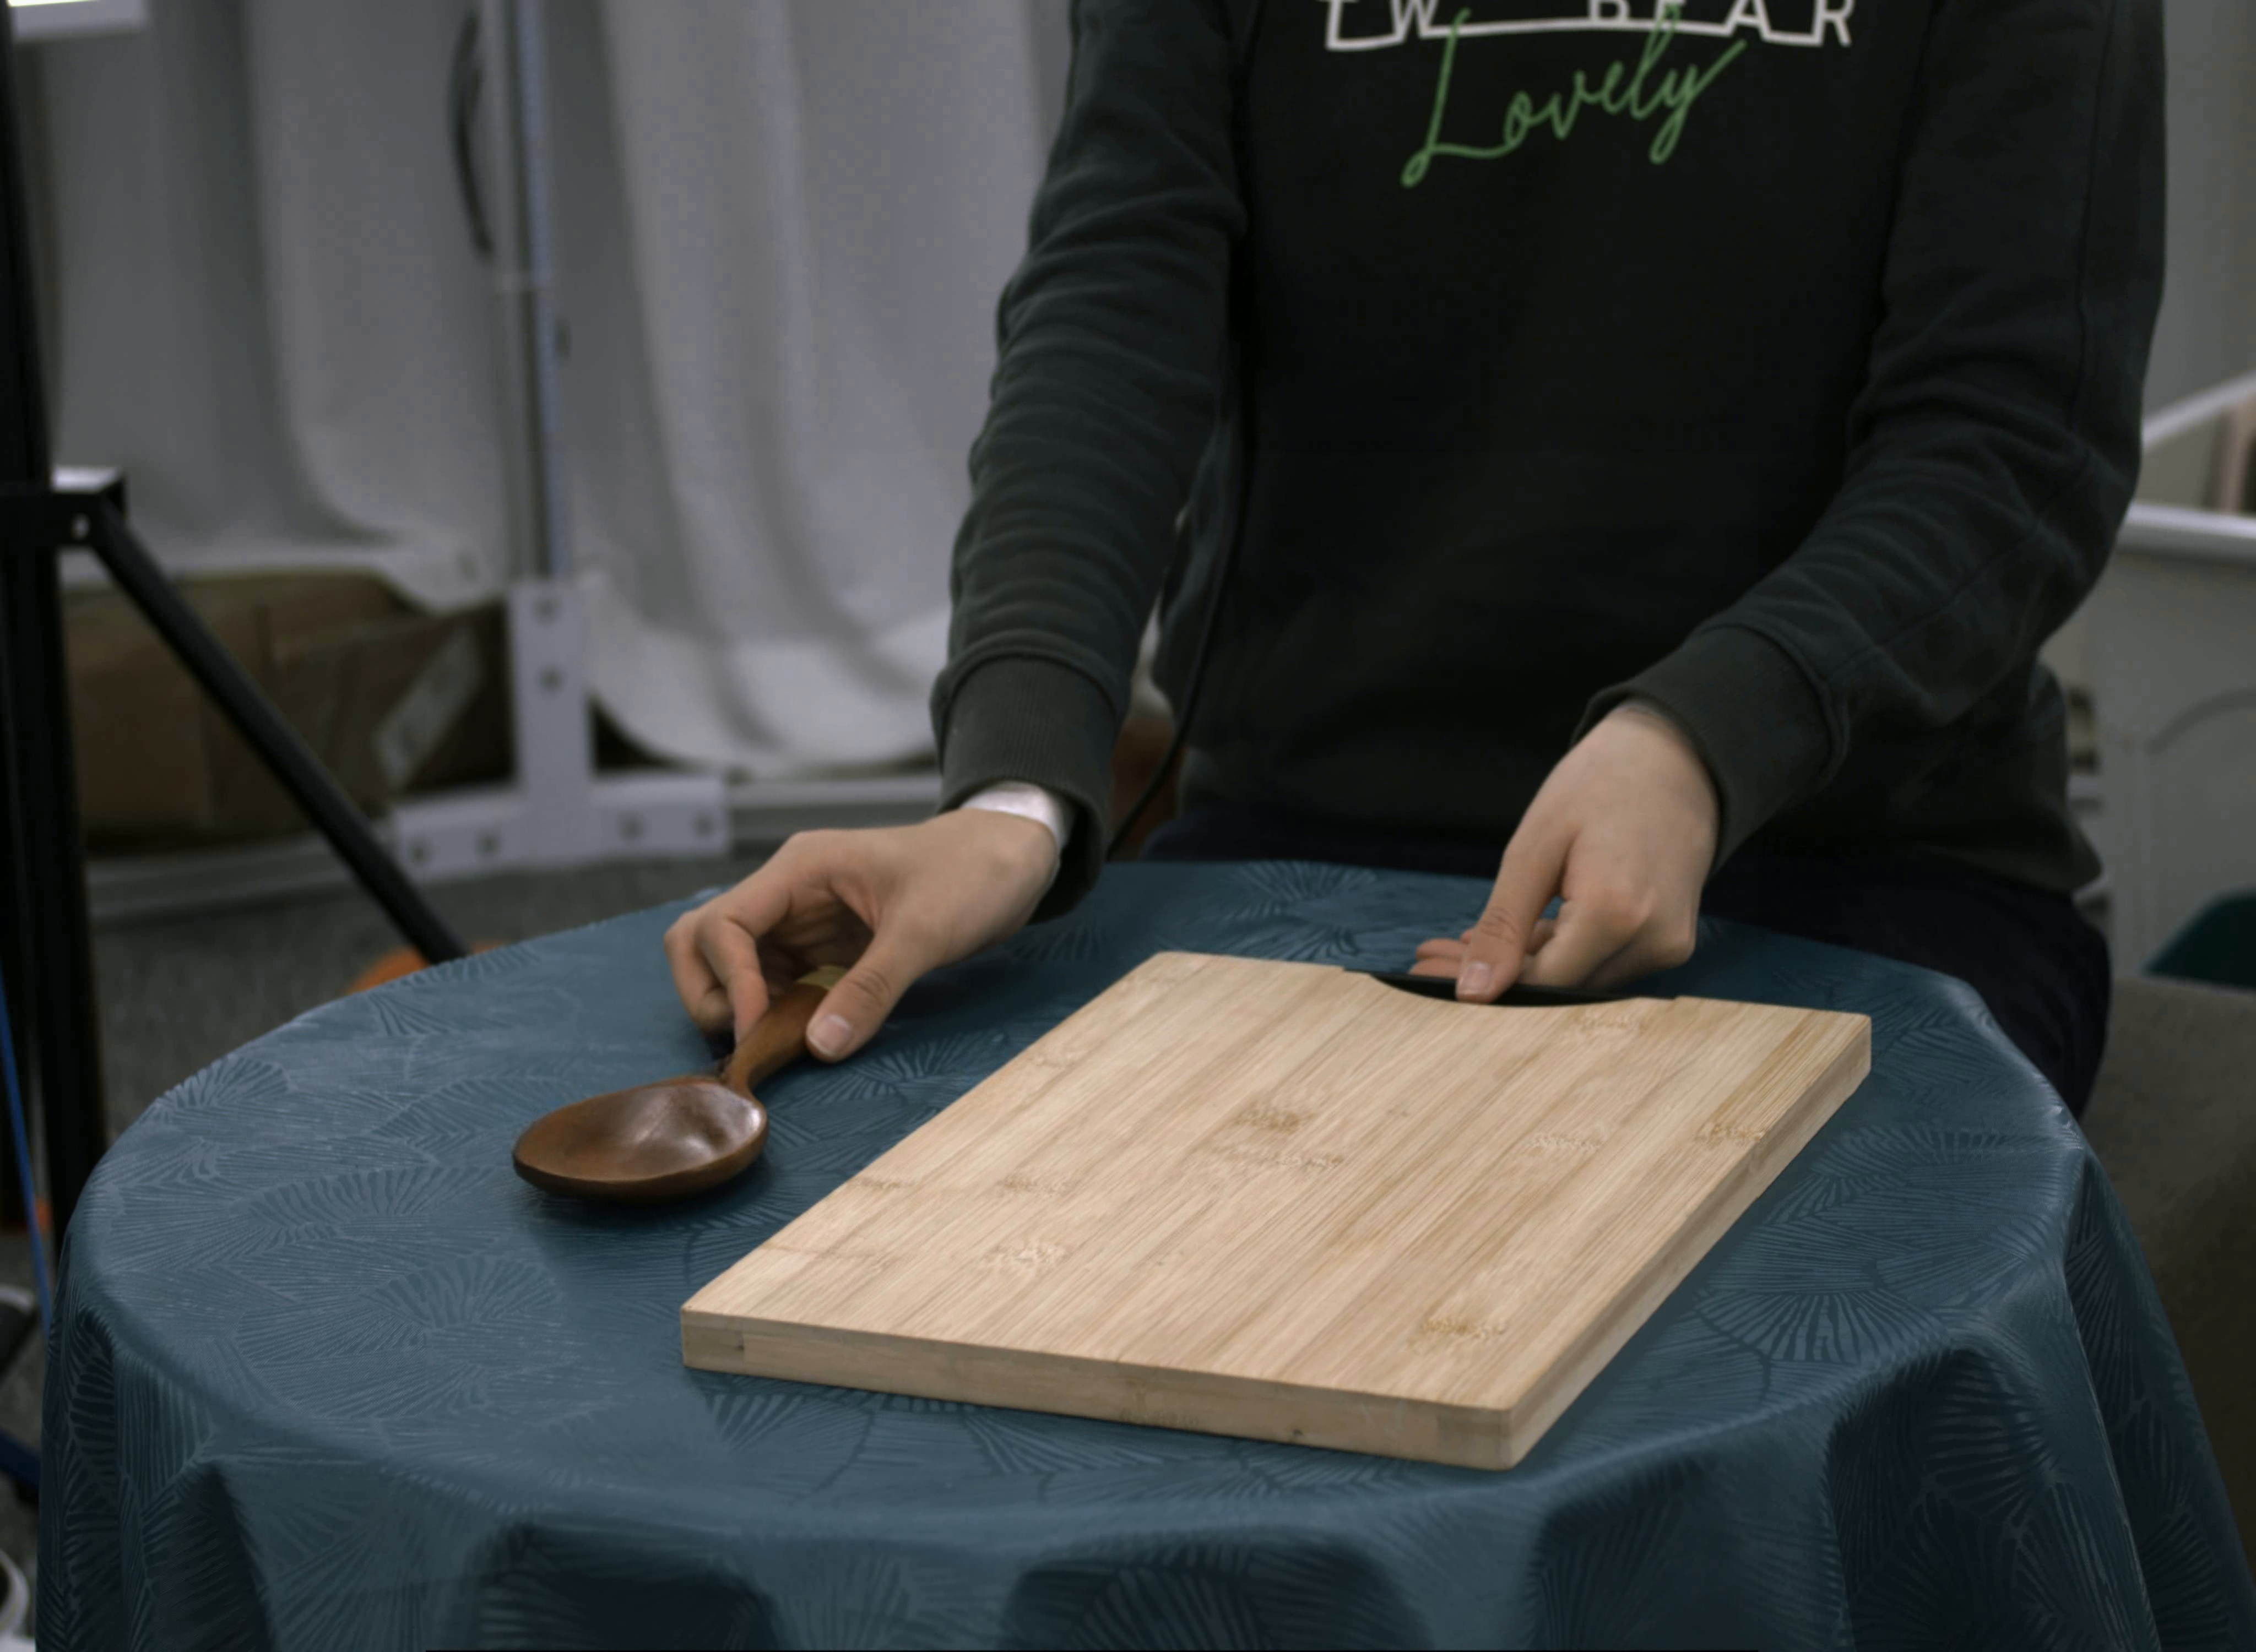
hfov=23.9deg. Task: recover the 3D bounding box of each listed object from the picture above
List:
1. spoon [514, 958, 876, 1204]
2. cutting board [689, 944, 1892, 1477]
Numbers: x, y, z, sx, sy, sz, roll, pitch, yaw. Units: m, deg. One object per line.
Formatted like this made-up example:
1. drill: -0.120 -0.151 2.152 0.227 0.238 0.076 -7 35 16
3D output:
1. spoon: -0.123 0.080 1.645 0.076 0.017 0.213 1 17 19
2. cutting board: 0.058 0.102 1.540 0.254 0.023 0.344 5 17 23
